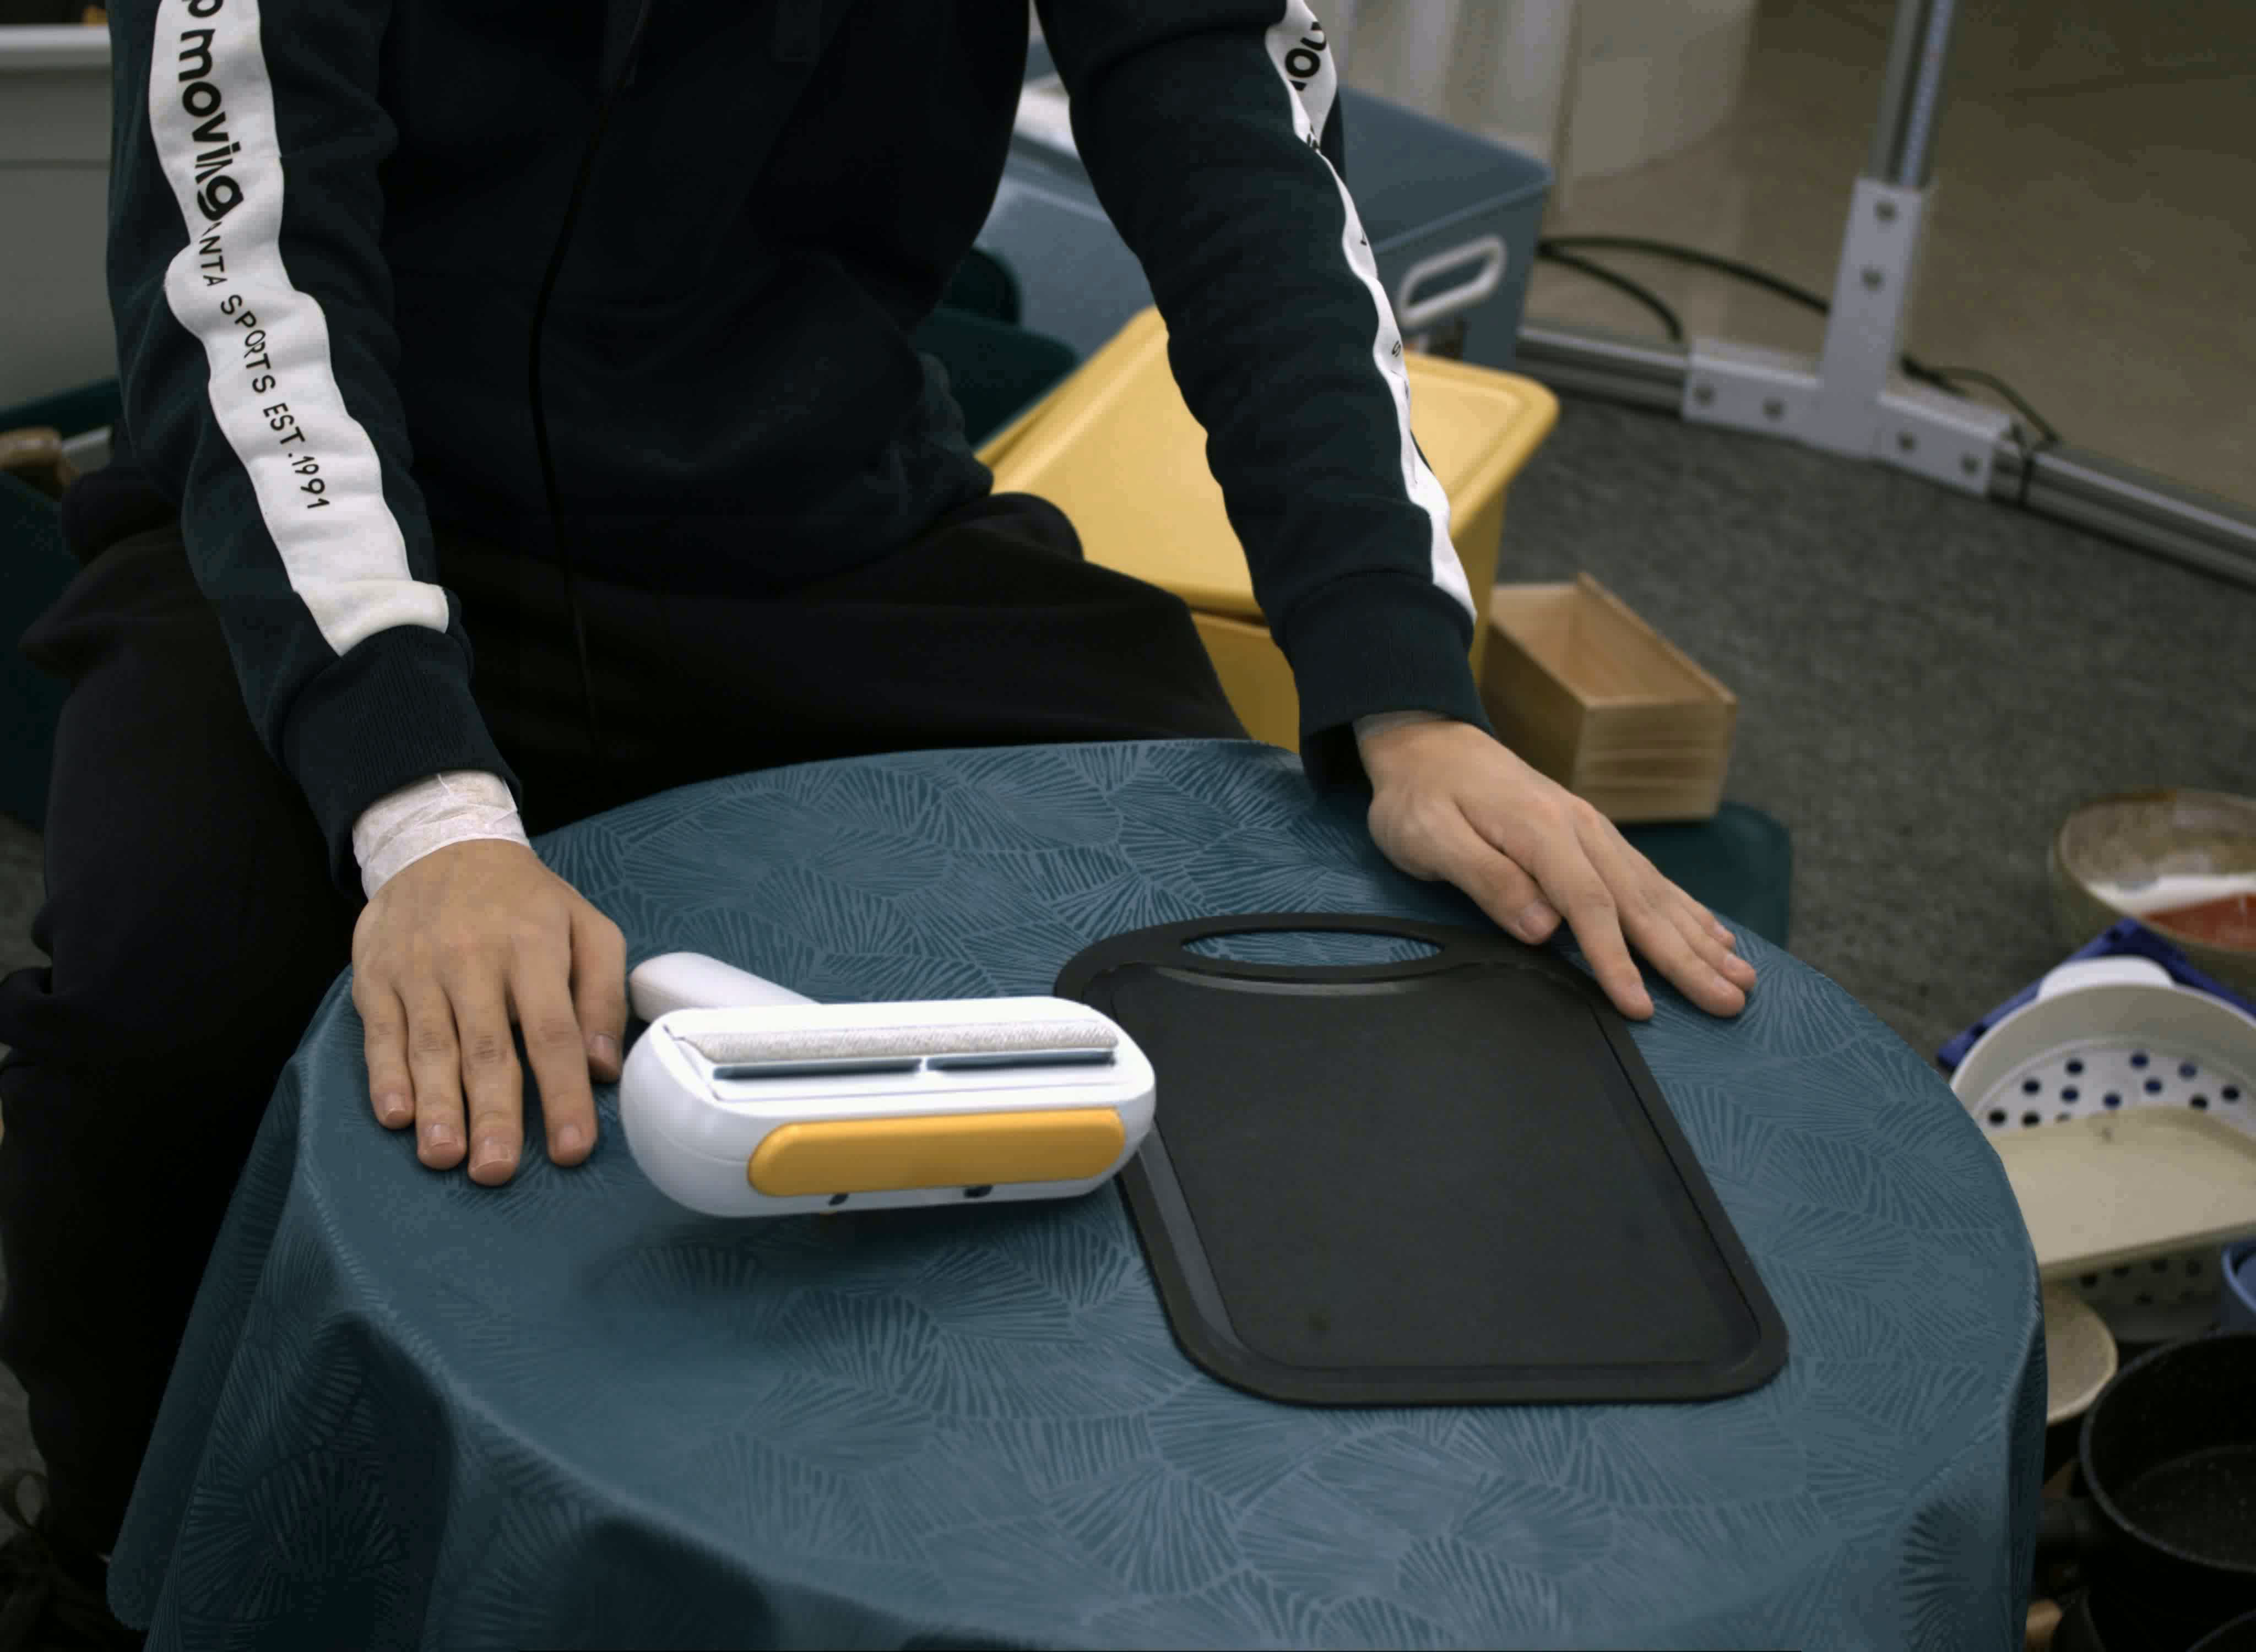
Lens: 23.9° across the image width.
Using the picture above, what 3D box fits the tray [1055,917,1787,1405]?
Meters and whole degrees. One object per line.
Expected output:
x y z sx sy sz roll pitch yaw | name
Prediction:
0.093 0.109 1.842 0.210 0.010 0.328 1 27 -12 | tray

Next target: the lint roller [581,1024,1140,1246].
-0.115 0.092 1.802 0.191 0.074 0.194 -1 12 -29 | lint roller
